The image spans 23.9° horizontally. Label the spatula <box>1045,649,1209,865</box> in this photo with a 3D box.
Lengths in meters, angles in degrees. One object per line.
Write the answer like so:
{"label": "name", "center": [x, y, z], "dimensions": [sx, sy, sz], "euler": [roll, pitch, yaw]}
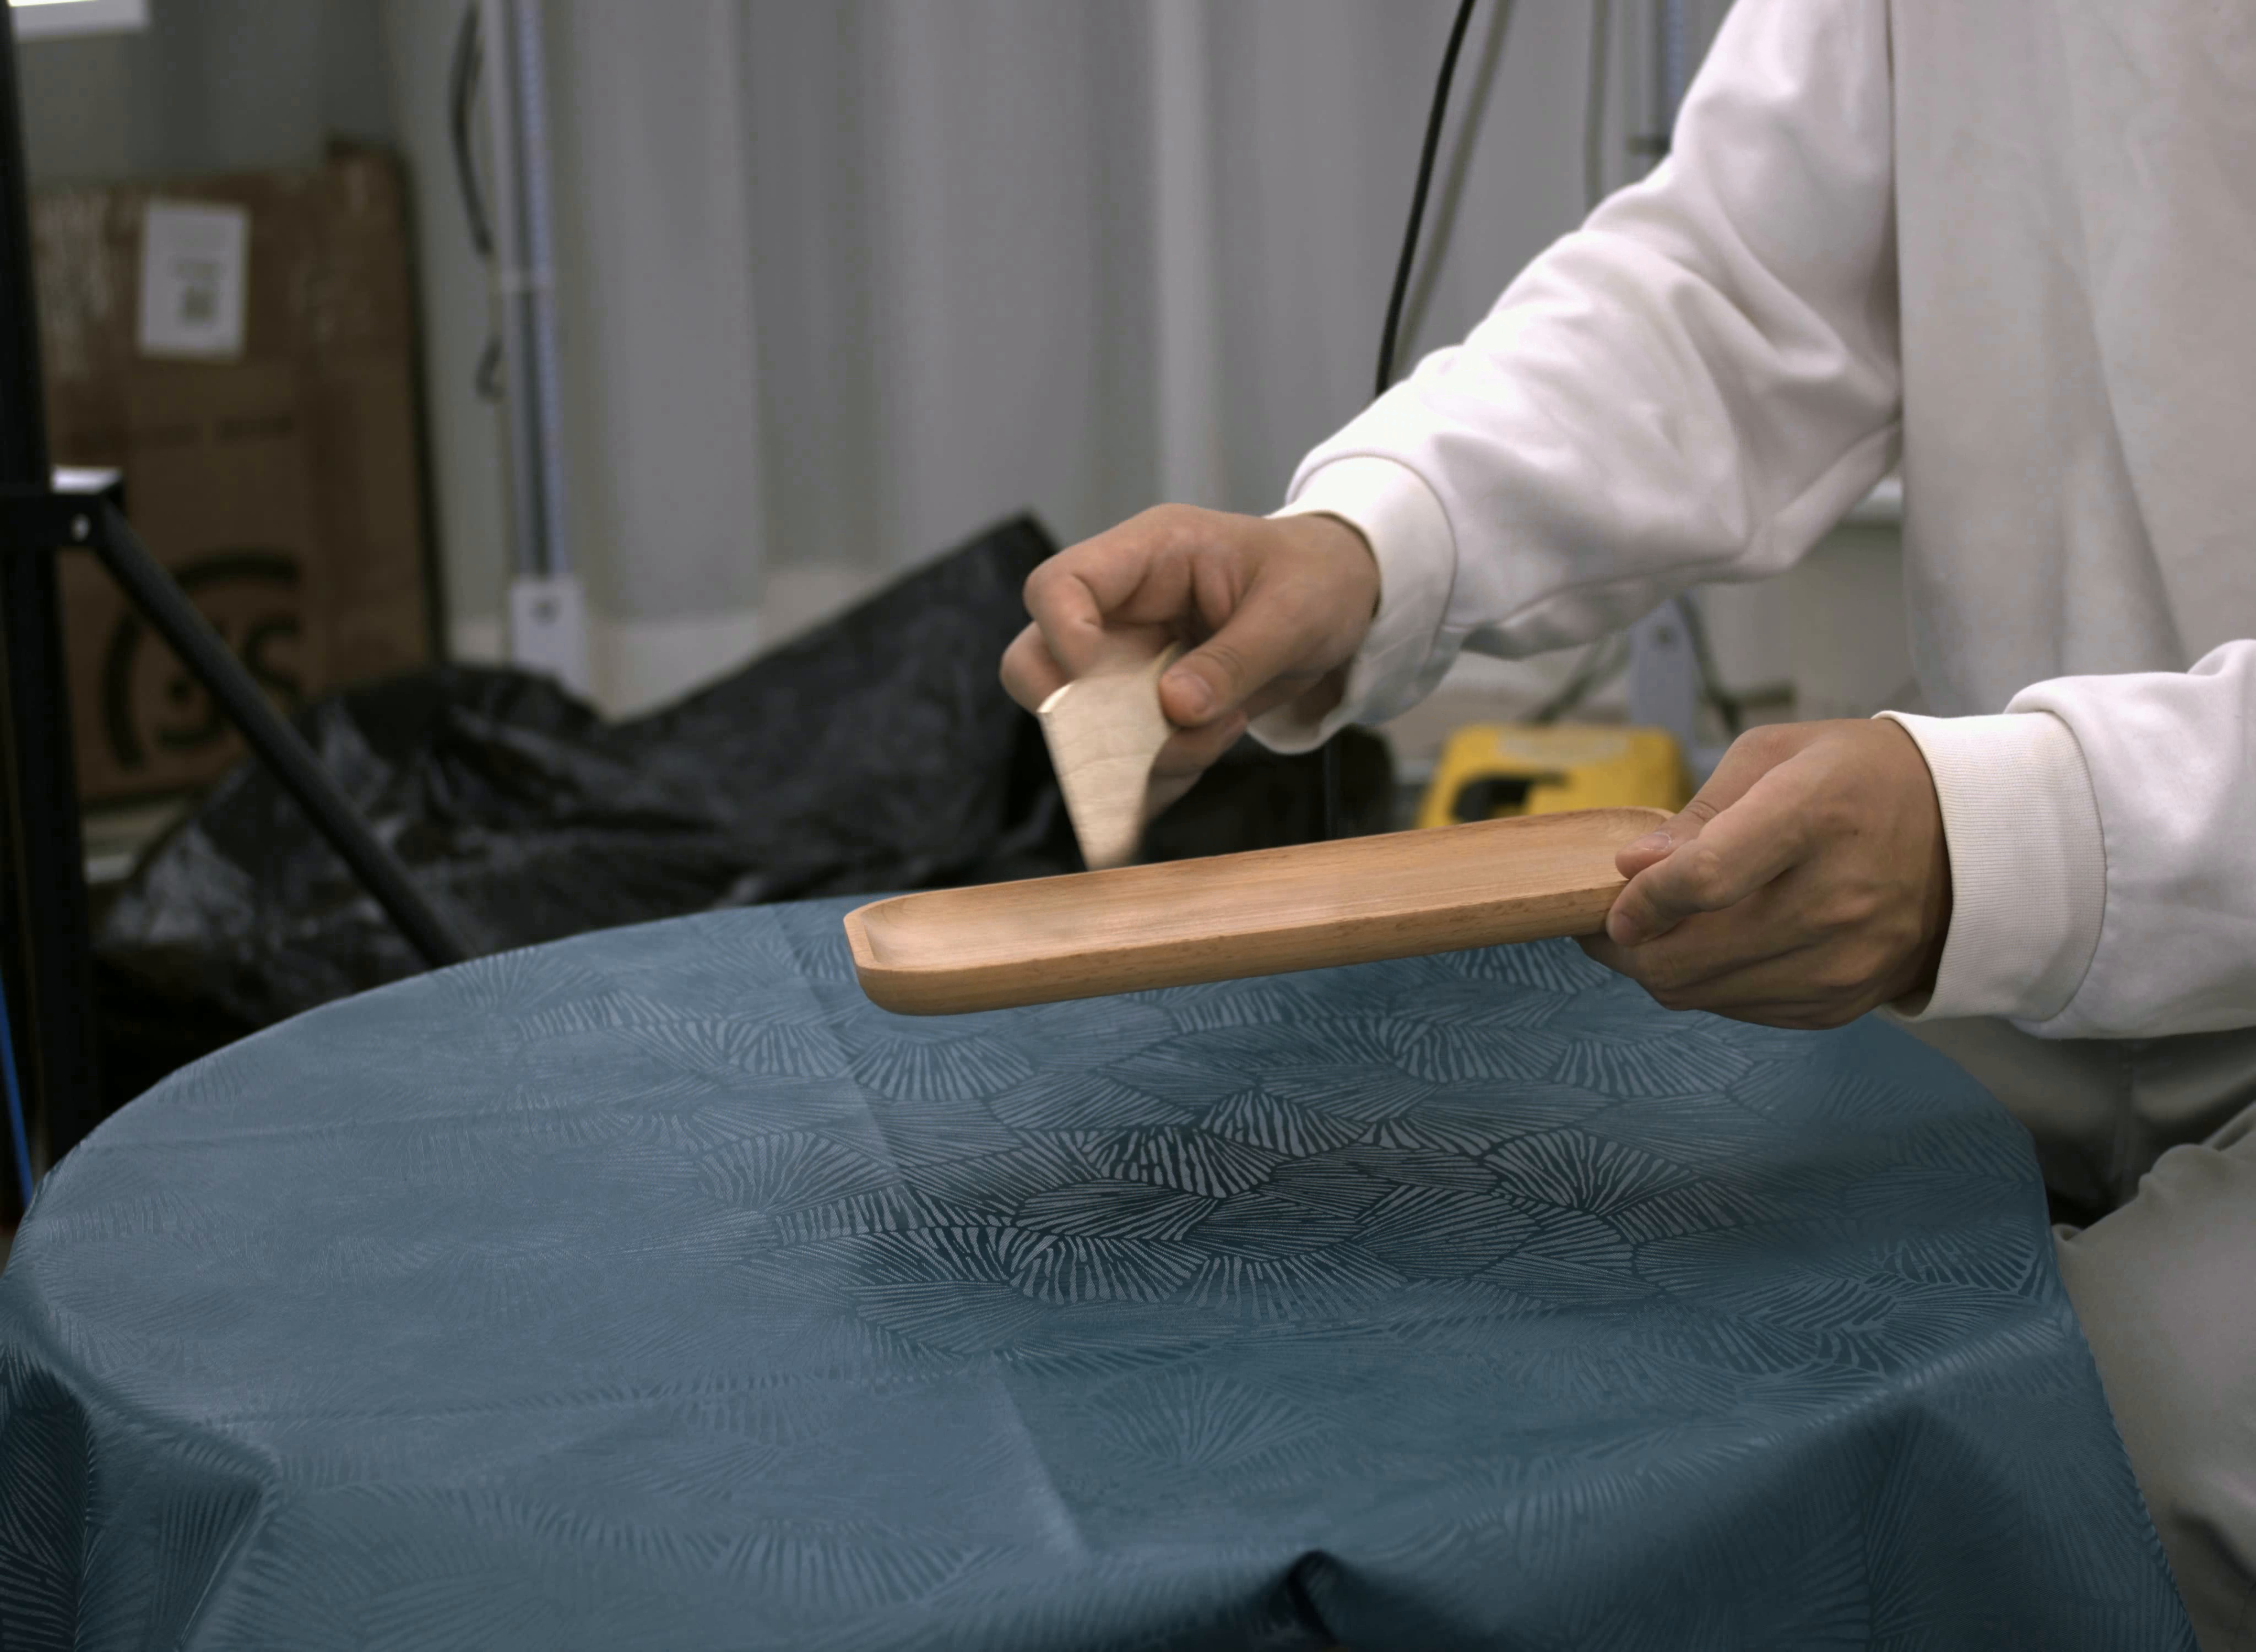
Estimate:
{"label": "spatula", "center": [0.003, -0.028, 1.597], "dimensions": [0.005, 0.050, 0.206], "euler": [-14, 7, 13]}

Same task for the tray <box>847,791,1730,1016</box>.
{"label": "tray", "center": [0.045, 0.022, 1.539], "dimensions": [0.249, 0.023, 0.131], "euler": [-7, 13, -3]}
